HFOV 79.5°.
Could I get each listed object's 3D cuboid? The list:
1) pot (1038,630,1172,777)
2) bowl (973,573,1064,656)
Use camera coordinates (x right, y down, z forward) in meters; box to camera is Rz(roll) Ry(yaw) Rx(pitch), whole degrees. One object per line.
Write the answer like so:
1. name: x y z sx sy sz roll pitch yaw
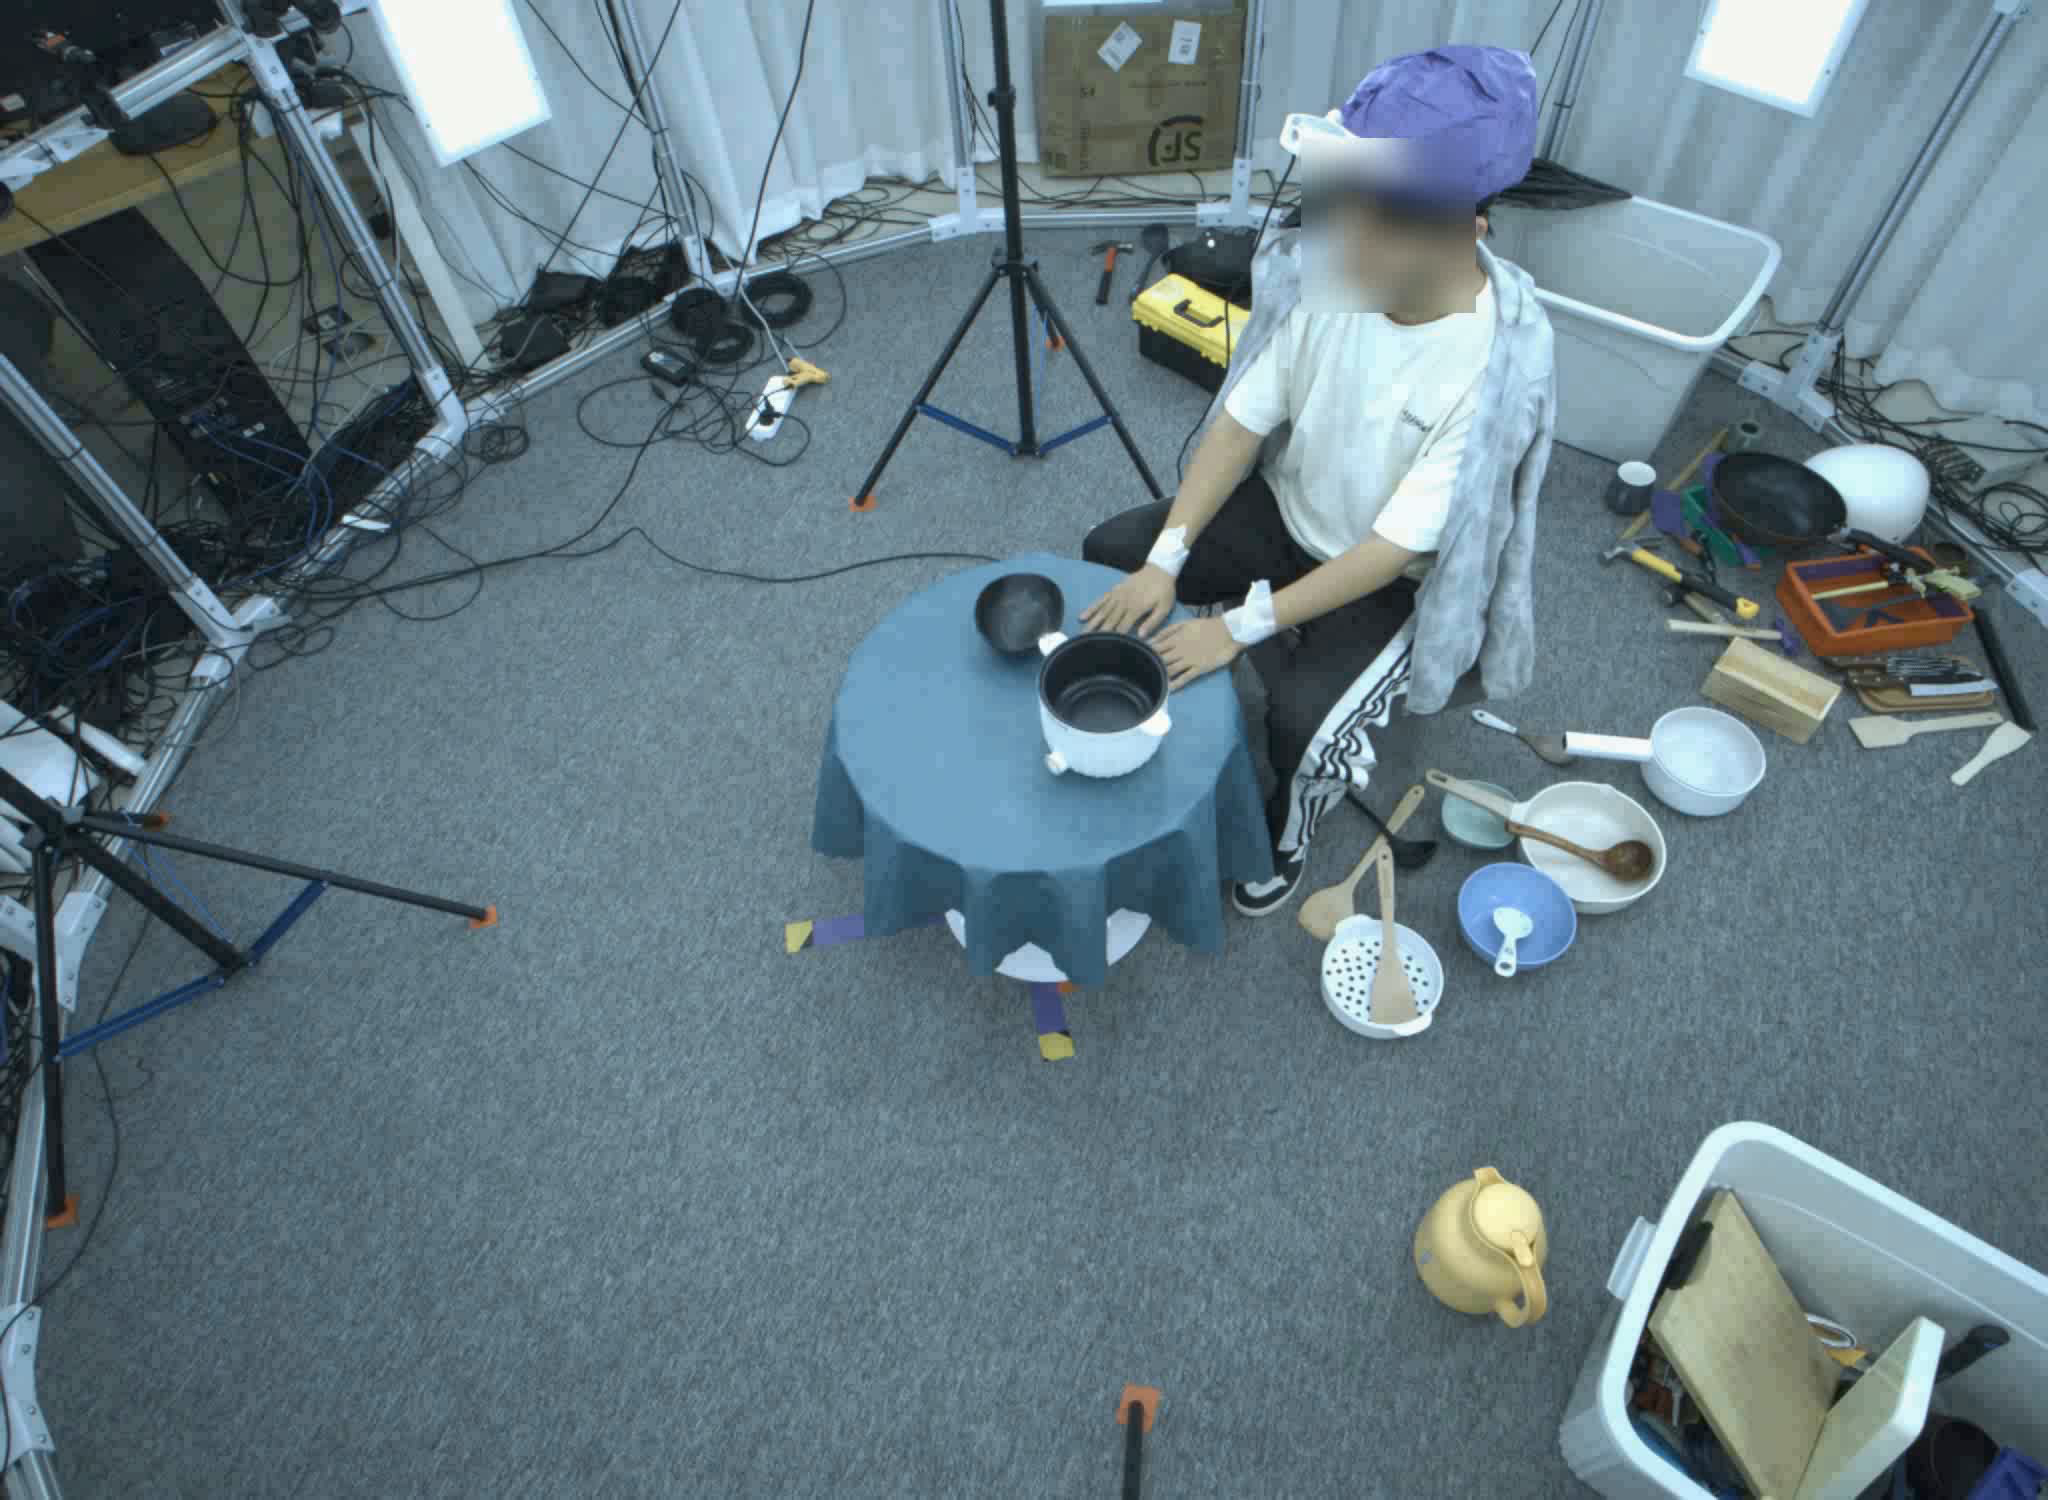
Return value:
1. pot: 0.109 -0.054 1.739 0.192 0.144 0.236 -37 60 -25
2. bowl: -0.007 -0.202 1.893 0.137 0.067 0.169 7 55 6
